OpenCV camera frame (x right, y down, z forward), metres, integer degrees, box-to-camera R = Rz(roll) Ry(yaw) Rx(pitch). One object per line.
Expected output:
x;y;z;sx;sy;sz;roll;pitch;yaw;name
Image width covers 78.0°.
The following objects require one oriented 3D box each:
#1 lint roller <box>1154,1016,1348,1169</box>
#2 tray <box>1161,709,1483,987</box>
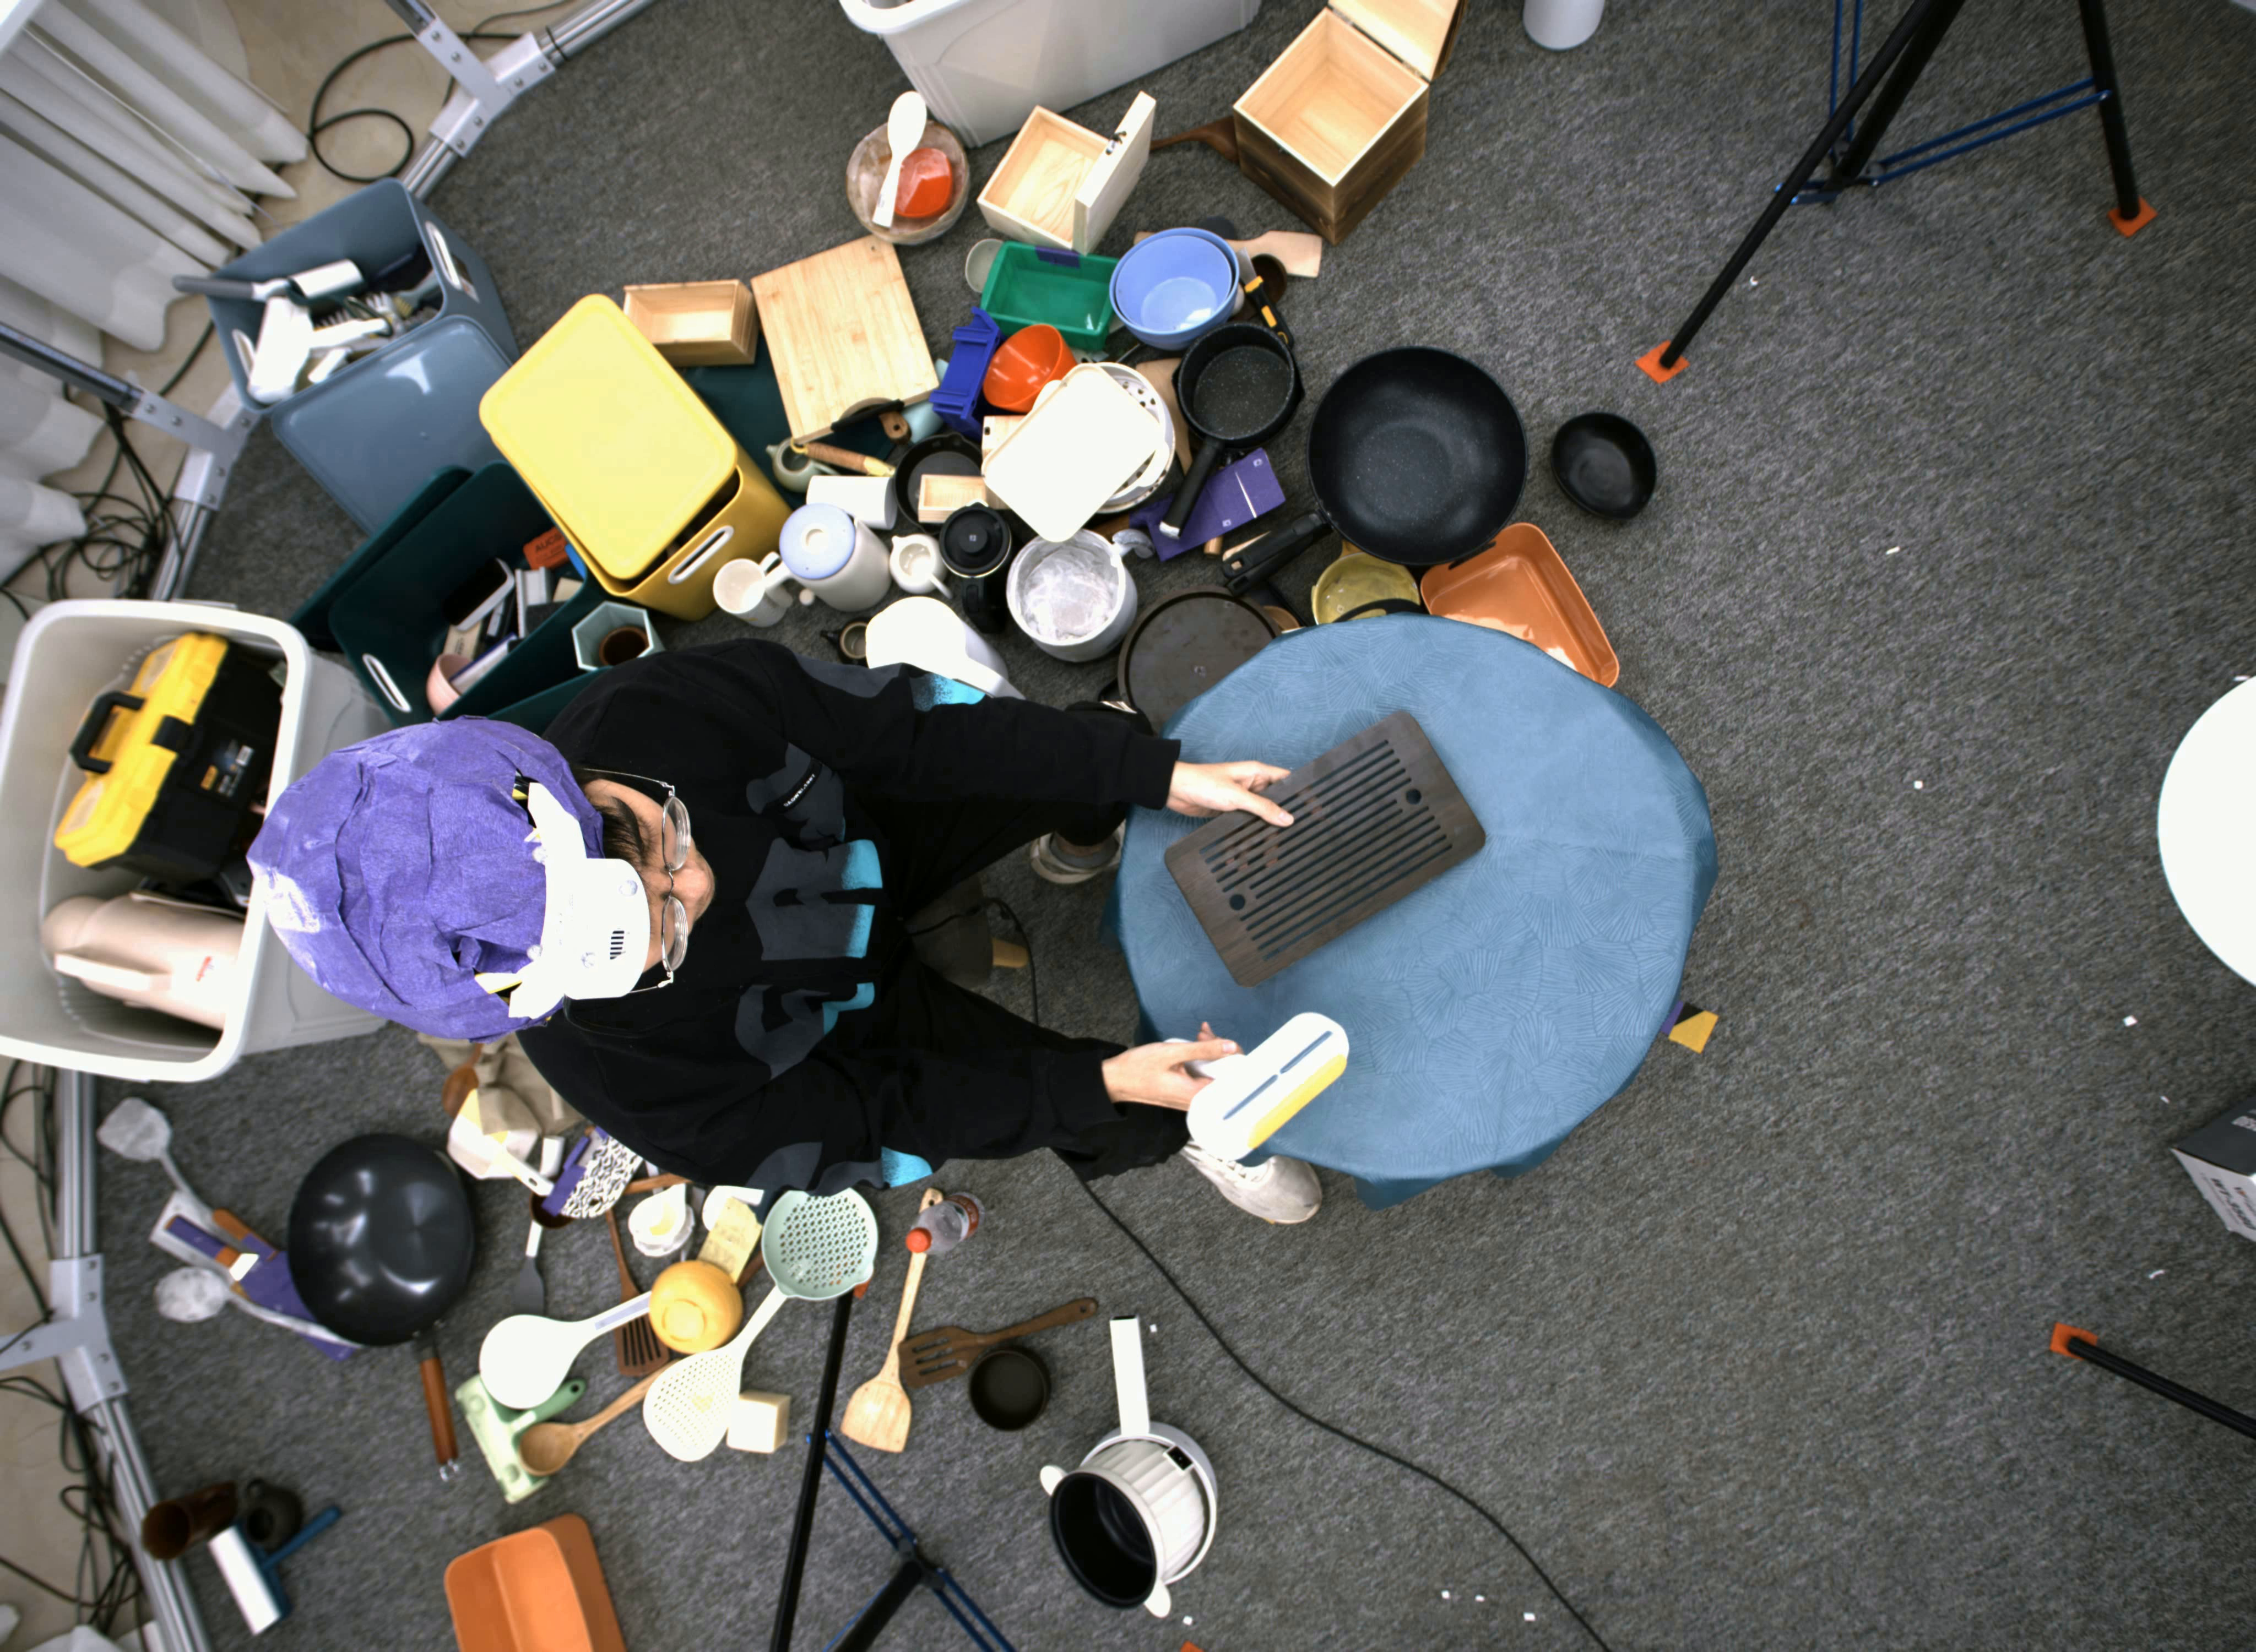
0.095;0.238;1.365;0.189;0.076;0.191;-37;41;-27;lint roller
0.201;0.021;1.430;0.306;0.018;0.170;-30;88;-1;tray
